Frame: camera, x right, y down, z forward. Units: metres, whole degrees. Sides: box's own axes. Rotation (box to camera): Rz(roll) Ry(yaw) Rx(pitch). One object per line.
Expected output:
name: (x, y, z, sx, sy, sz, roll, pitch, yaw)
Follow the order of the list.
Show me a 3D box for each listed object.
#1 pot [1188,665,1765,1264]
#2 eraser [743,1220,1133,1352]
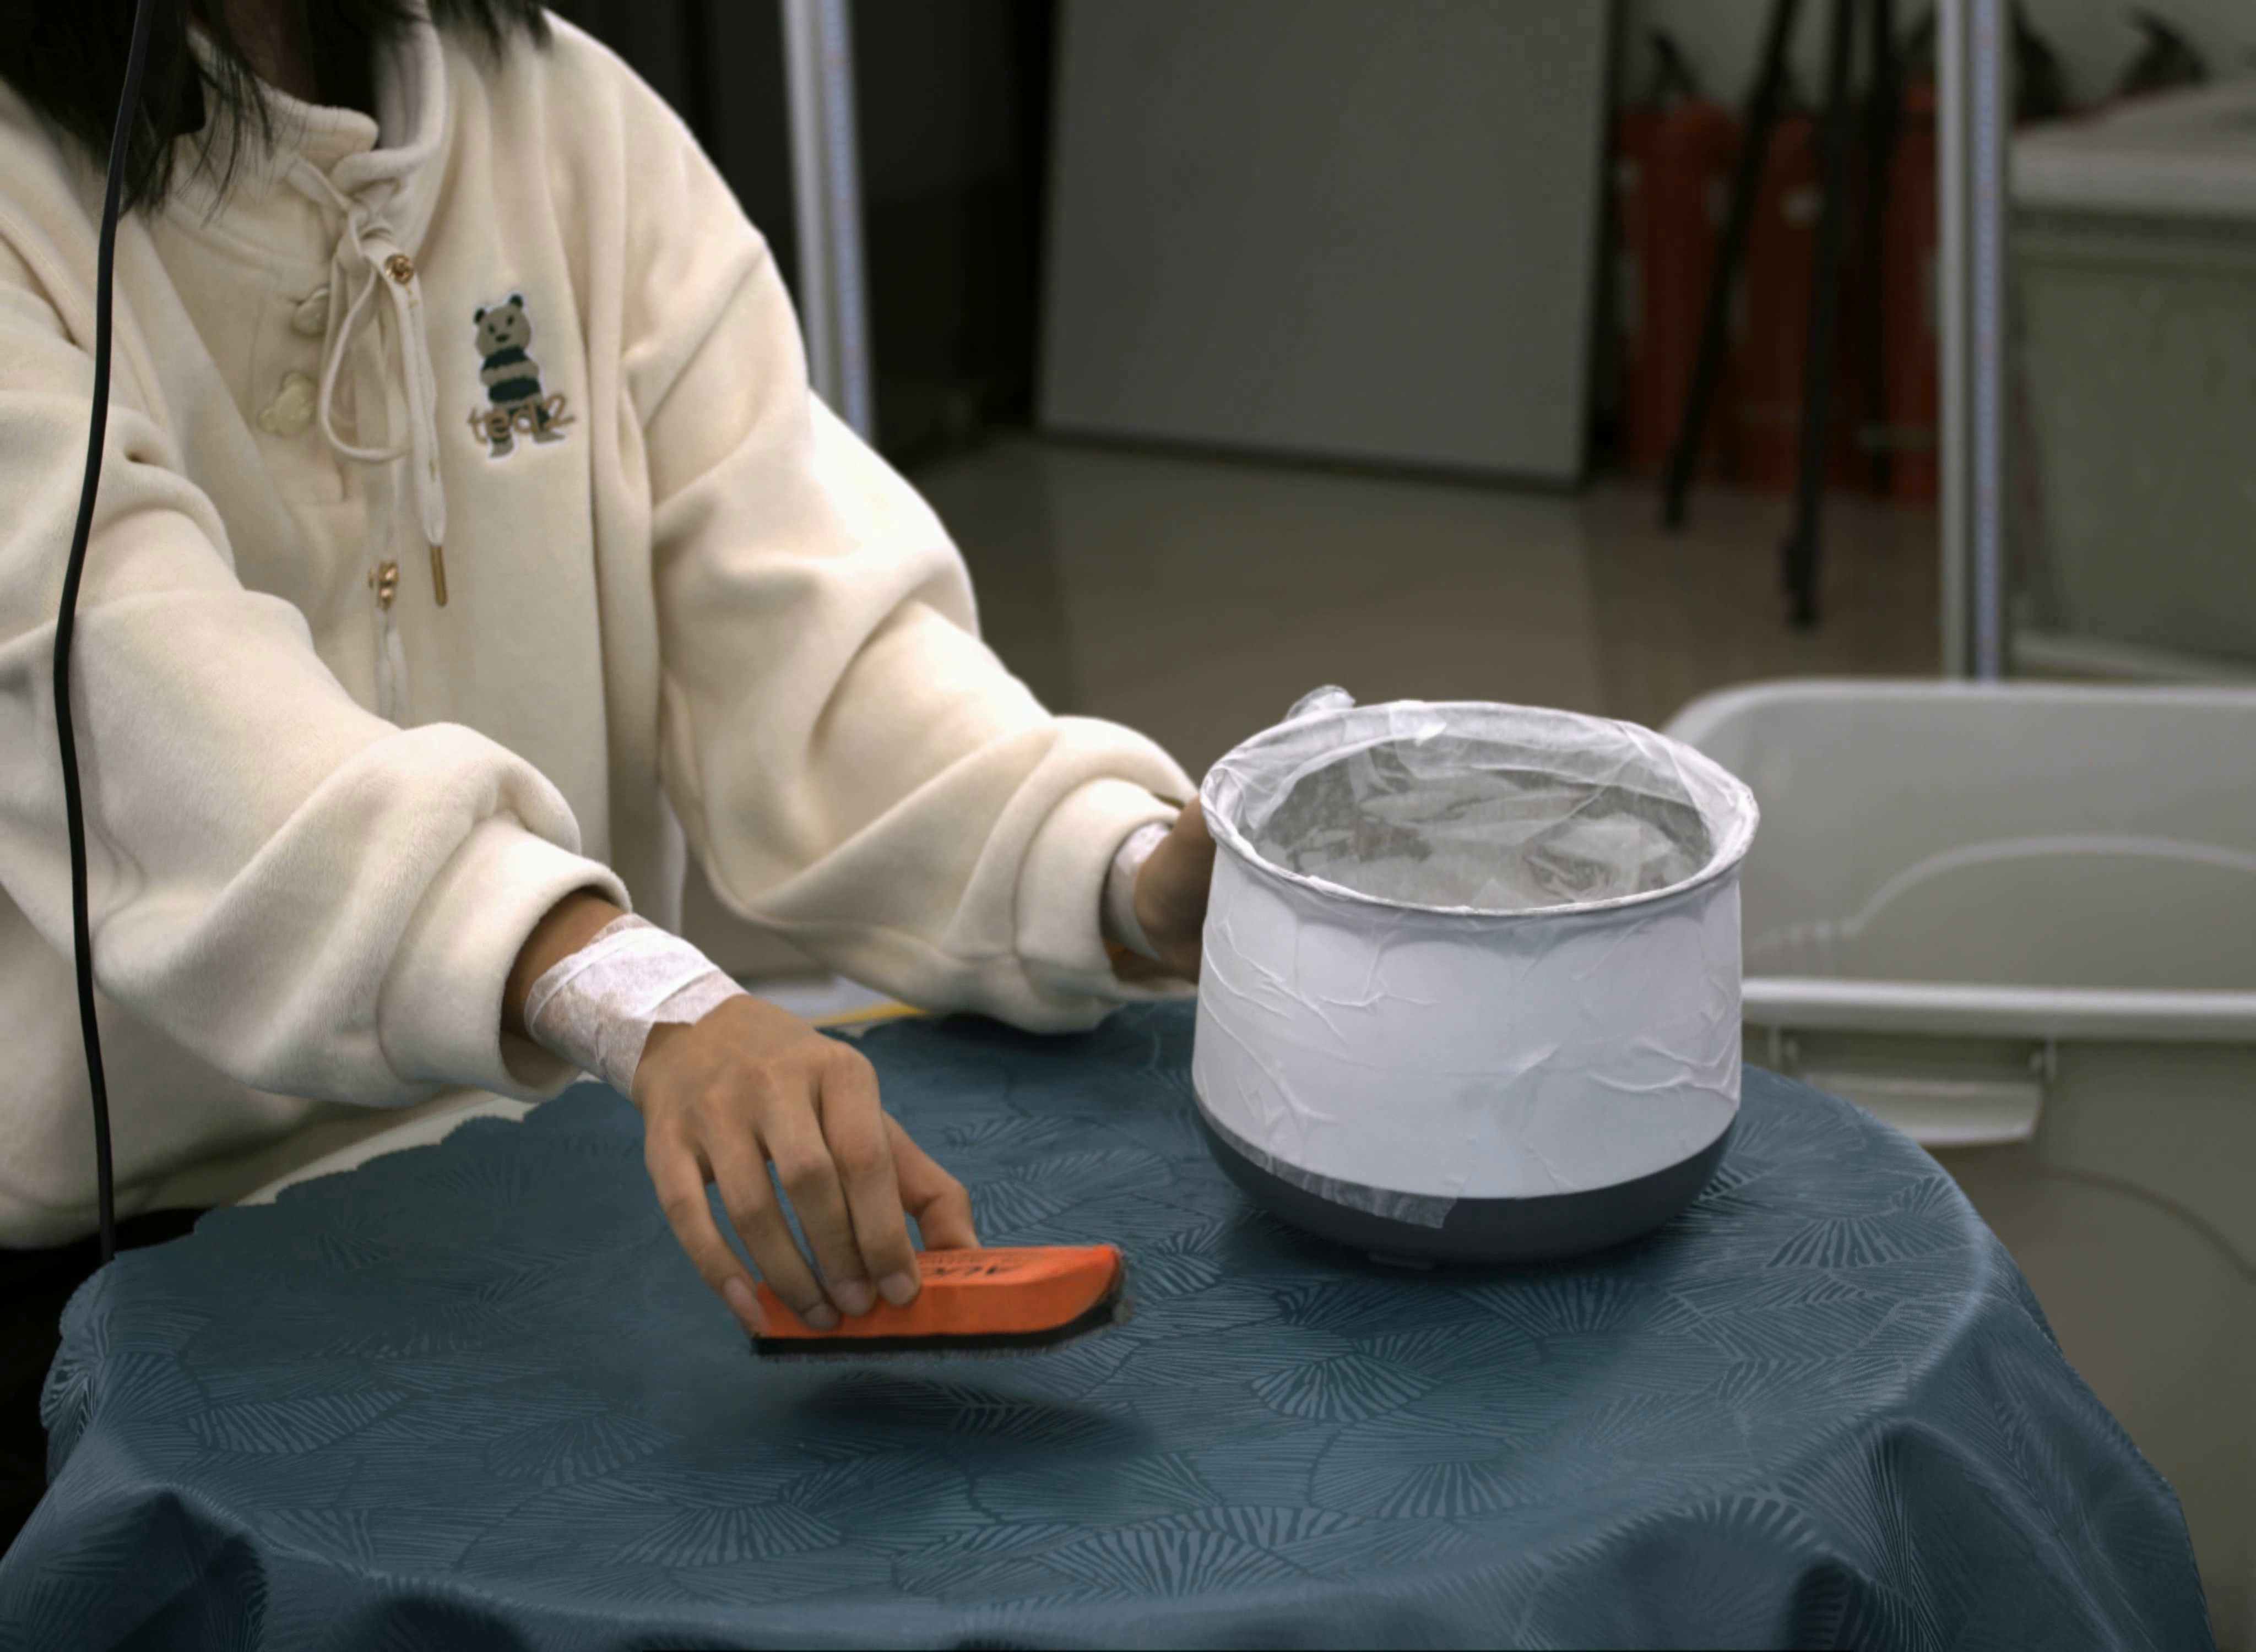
pot: (0.095, 0.038, 1.729, 0.175, 0.138, 0.236, -8, 24, -26)
eraser: (-0.055, 0.134, 1.574, 0.108, 0.023, 0.058, -8, 2, 32)
